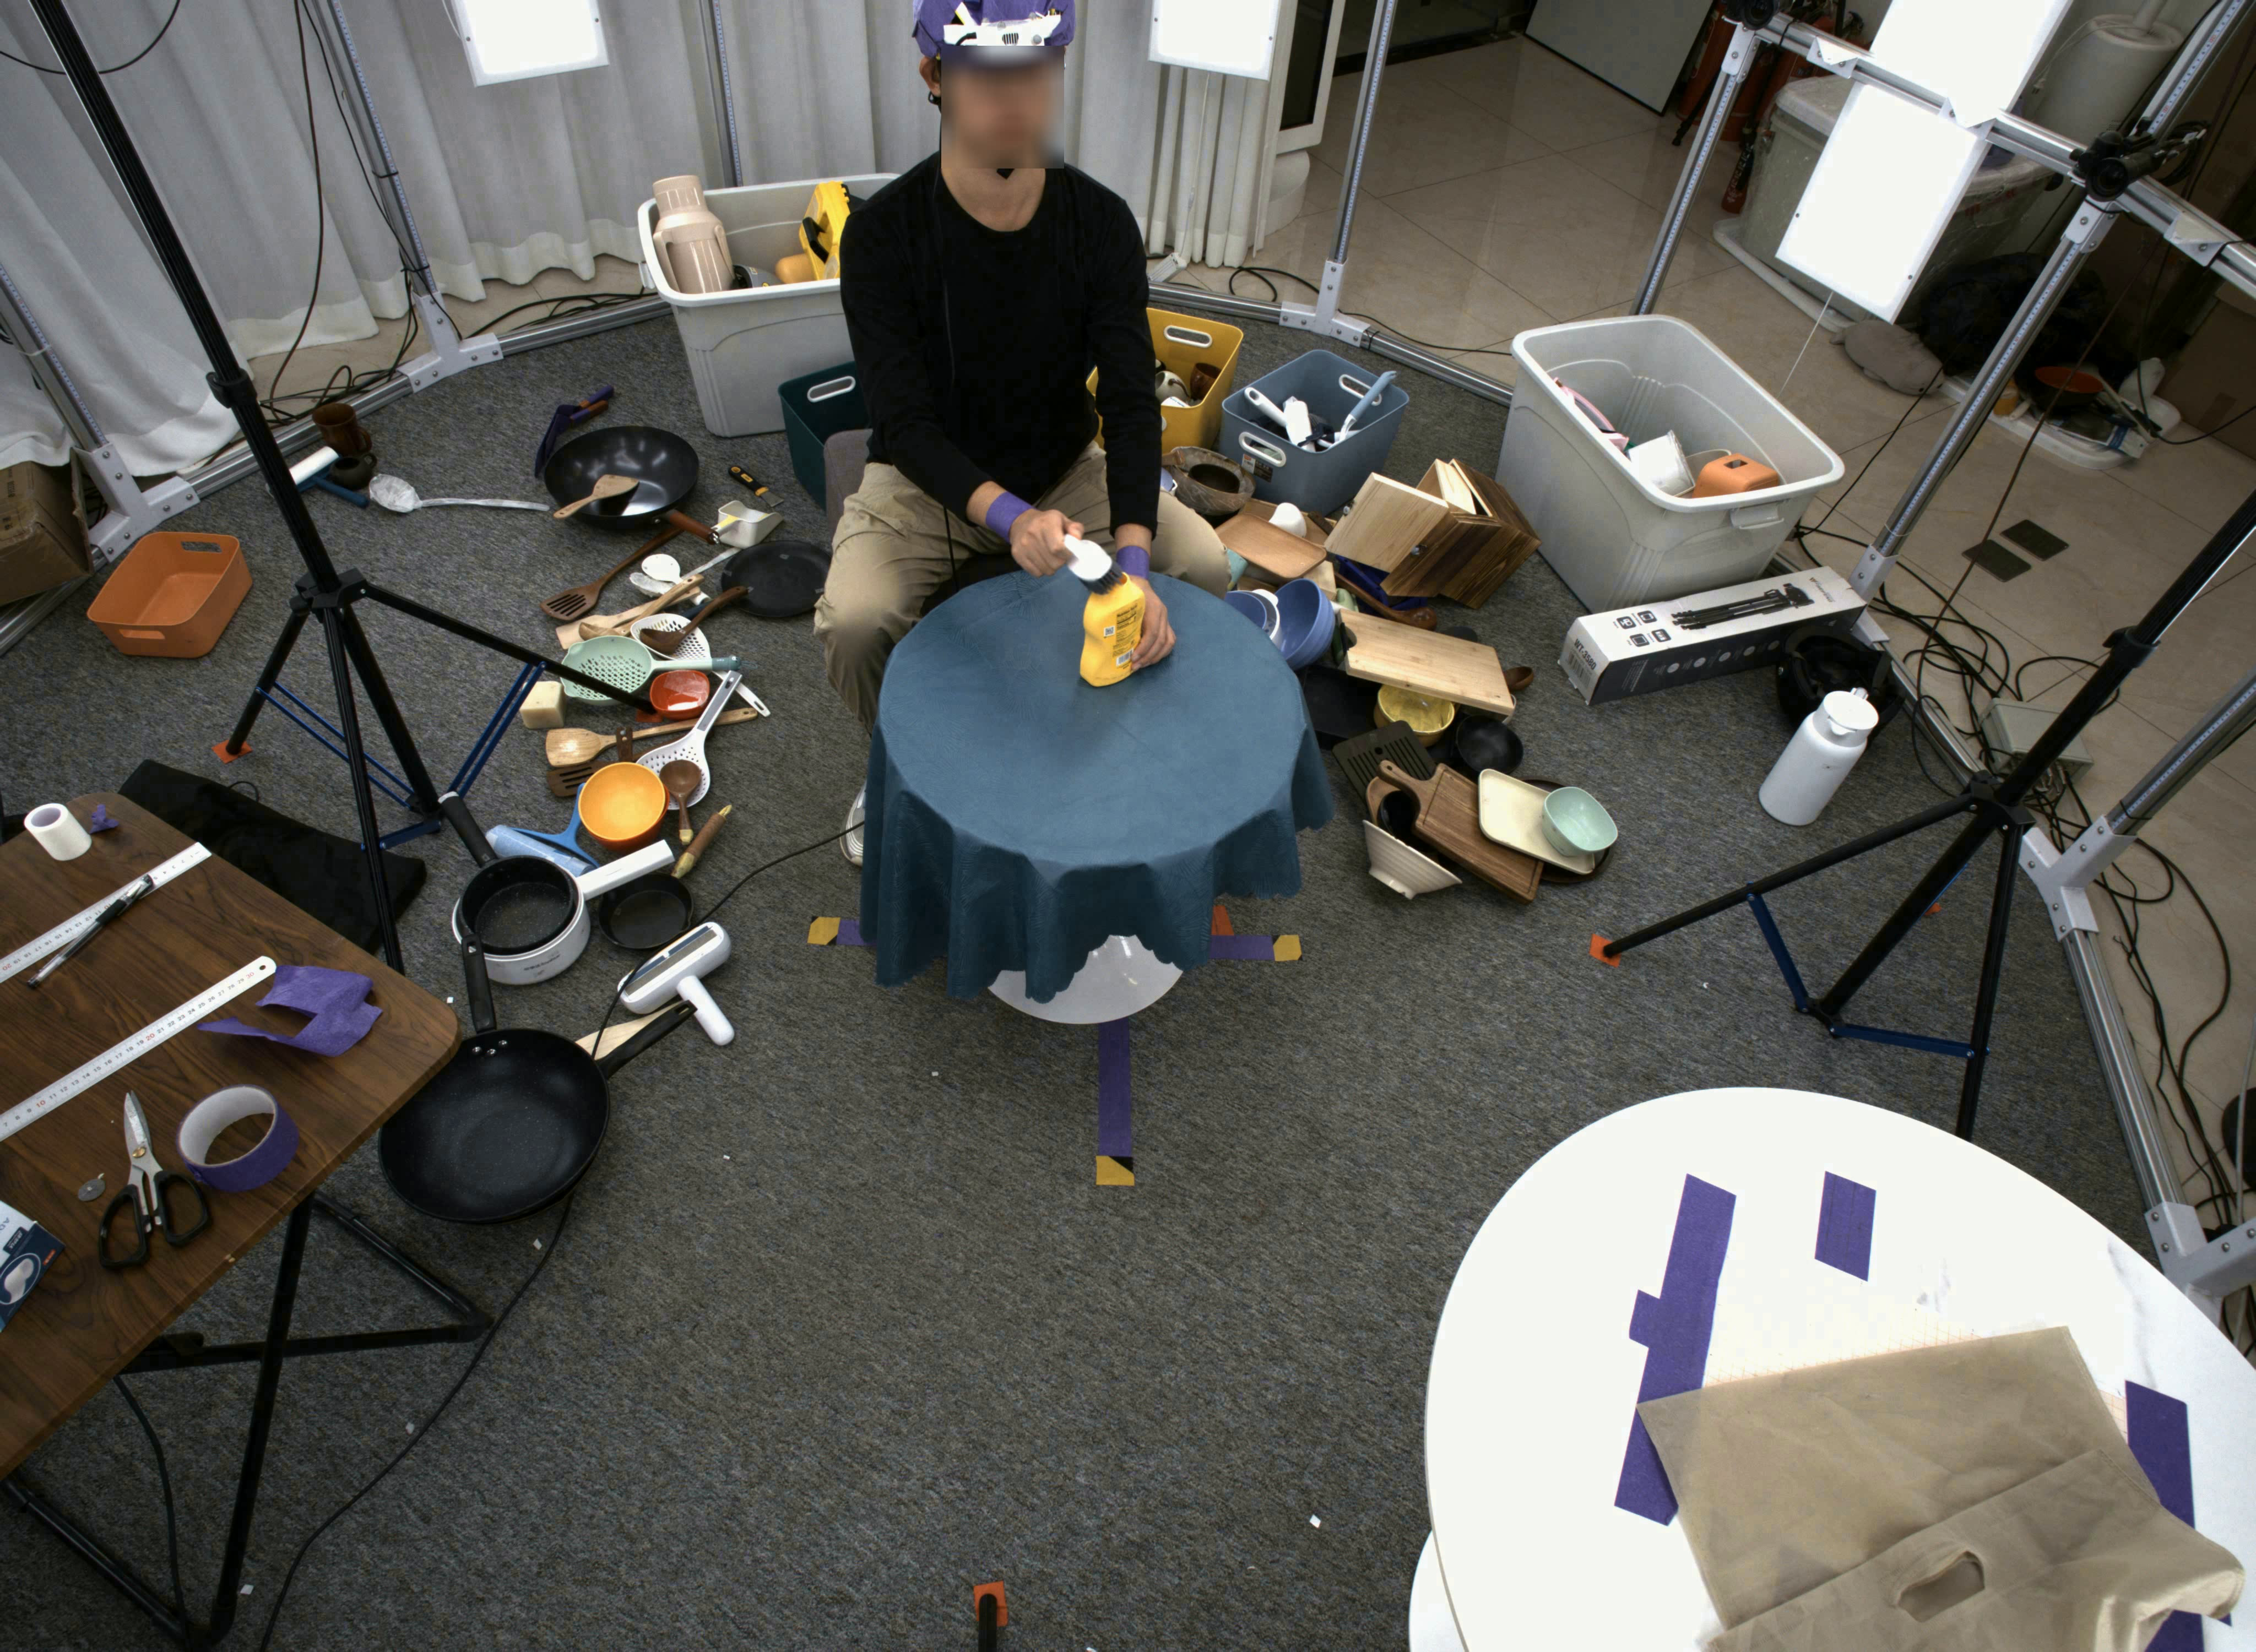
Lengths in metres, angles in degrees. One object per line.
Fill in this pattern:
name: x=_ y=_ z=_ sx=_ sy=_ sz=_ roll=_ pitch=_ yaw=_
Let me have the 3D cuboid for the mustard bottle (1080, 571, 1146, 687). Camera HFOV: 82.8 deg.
mustard bottle: x=-0.021 y=-0.280 z=1.799 sx=0.099 sy=0.168 sz=0.060 roll=-32 pitch=56 yaw=-26

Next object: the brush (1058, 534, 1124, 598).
brush: x=-0.057 y=-0.353 z=1.705 sx=0.050 sy=0.071 sz=0.101 roll=-44 pitch=42 yaw=-1
